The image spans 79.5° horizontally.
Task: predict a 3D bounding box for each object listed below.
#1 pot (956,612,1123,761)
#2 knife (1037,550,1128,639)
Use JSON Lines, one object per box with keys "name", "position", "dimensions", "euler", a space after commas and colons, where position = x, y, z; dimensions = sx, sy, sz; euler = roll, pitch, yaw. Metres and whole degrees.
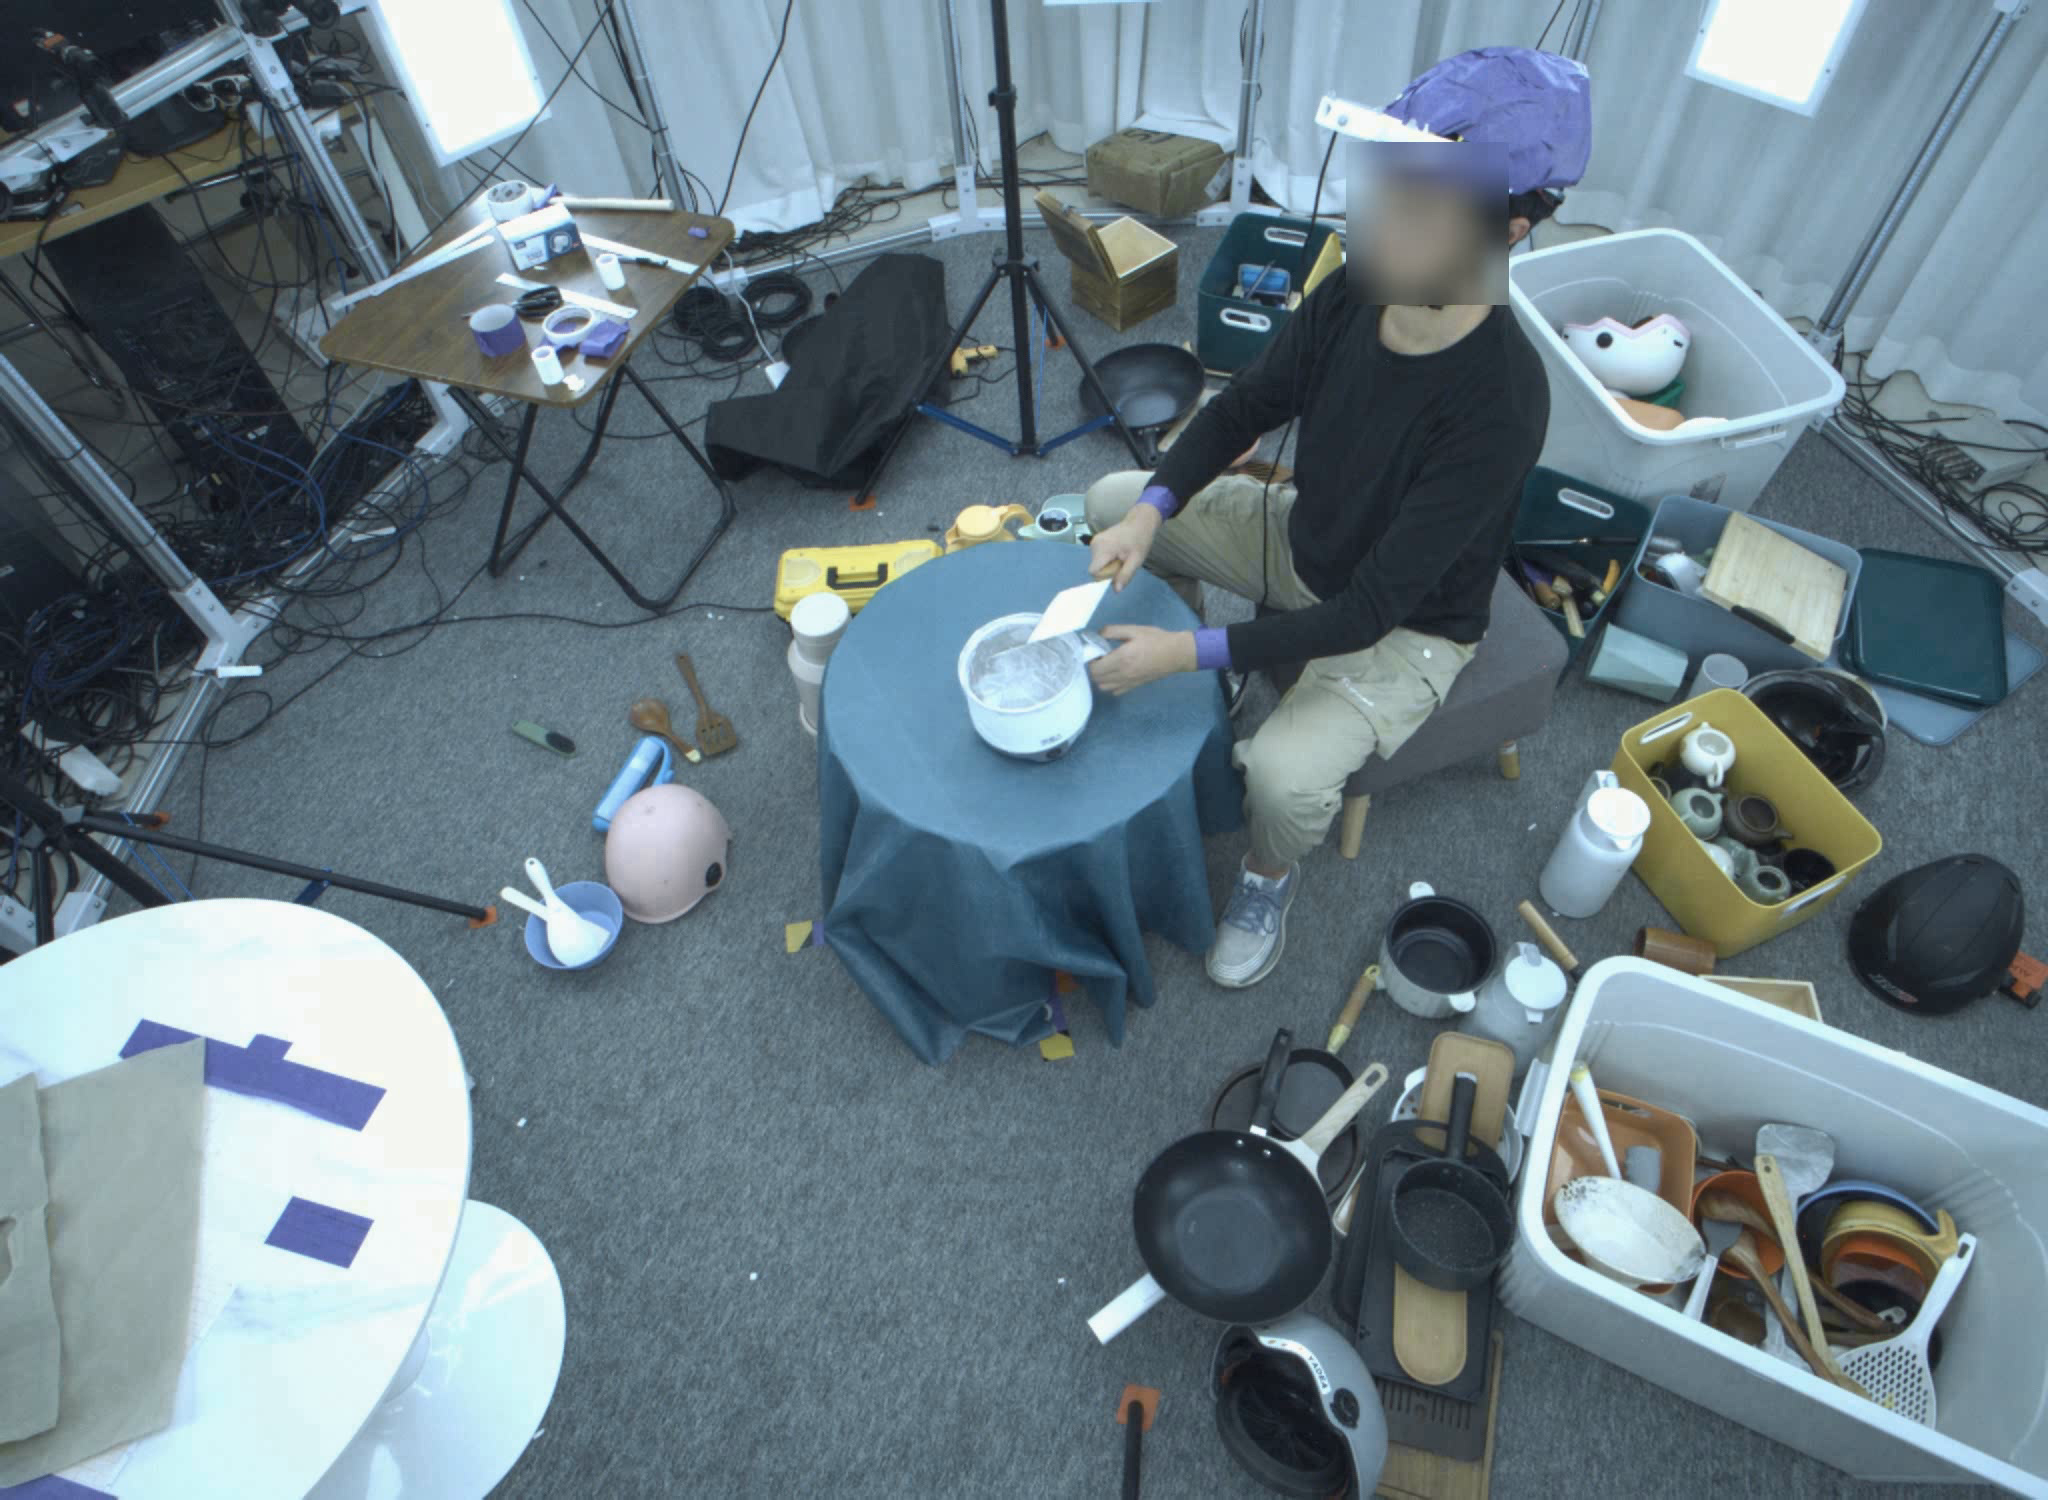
{"name": "pot", "position": [0.028, -0.100, 1.758], "dimensions": [0.234, 0.138, 0.175], "euler": [-24, 57, -6]}
{"name": "knife", "position": [0.084, -0.224, 1.765], "dimensions": [0.092, 0.021, 0.306], "euler": [-11, 24, 22]}
